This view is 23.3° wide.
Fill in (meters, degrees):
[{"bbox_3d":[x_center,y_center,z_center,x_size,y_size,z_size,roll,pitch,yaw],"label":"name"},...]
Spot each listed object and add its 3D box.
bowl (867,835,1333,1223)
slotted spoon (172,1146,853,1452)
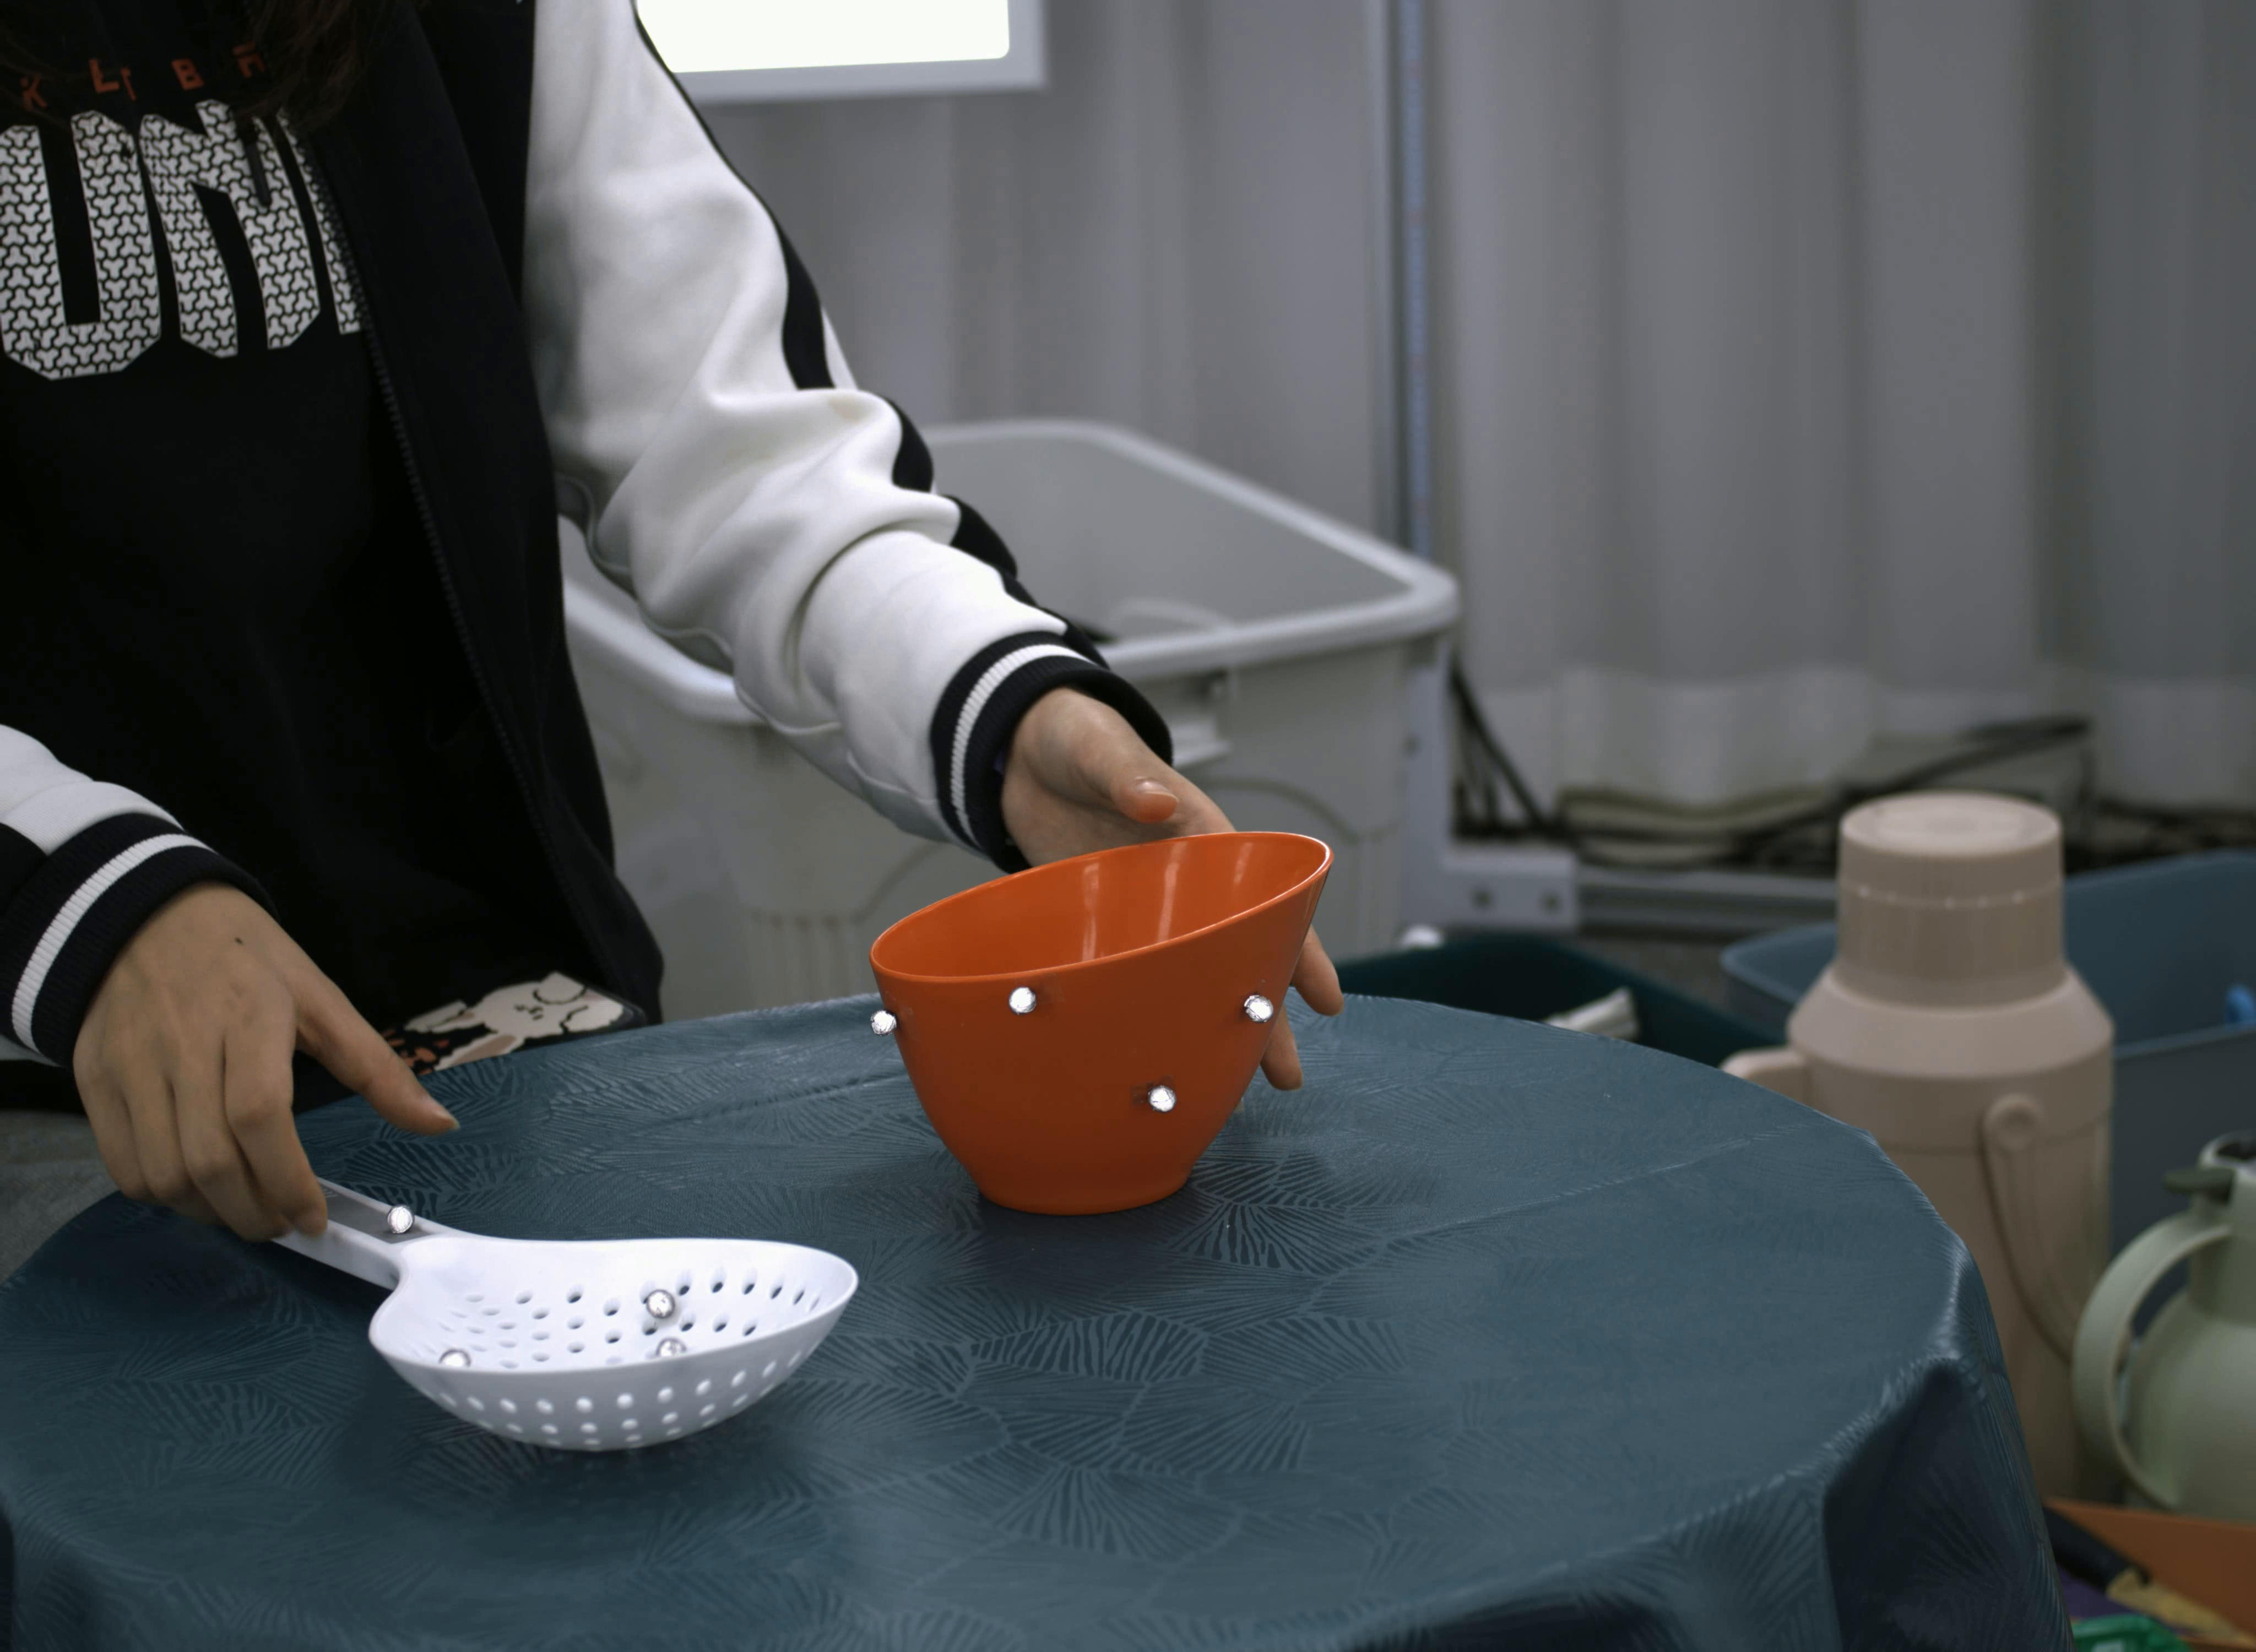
[{"bbox_3d":[-0.007,0.065,1.710,0.147,0.104,0.149,-4,15,1],"label":"bowl"},{"bbox_3d":[-0.202,0.129,1.612,0.135,0.045,0.352,-11,16,-32],"label":"slotted spoon"}]
